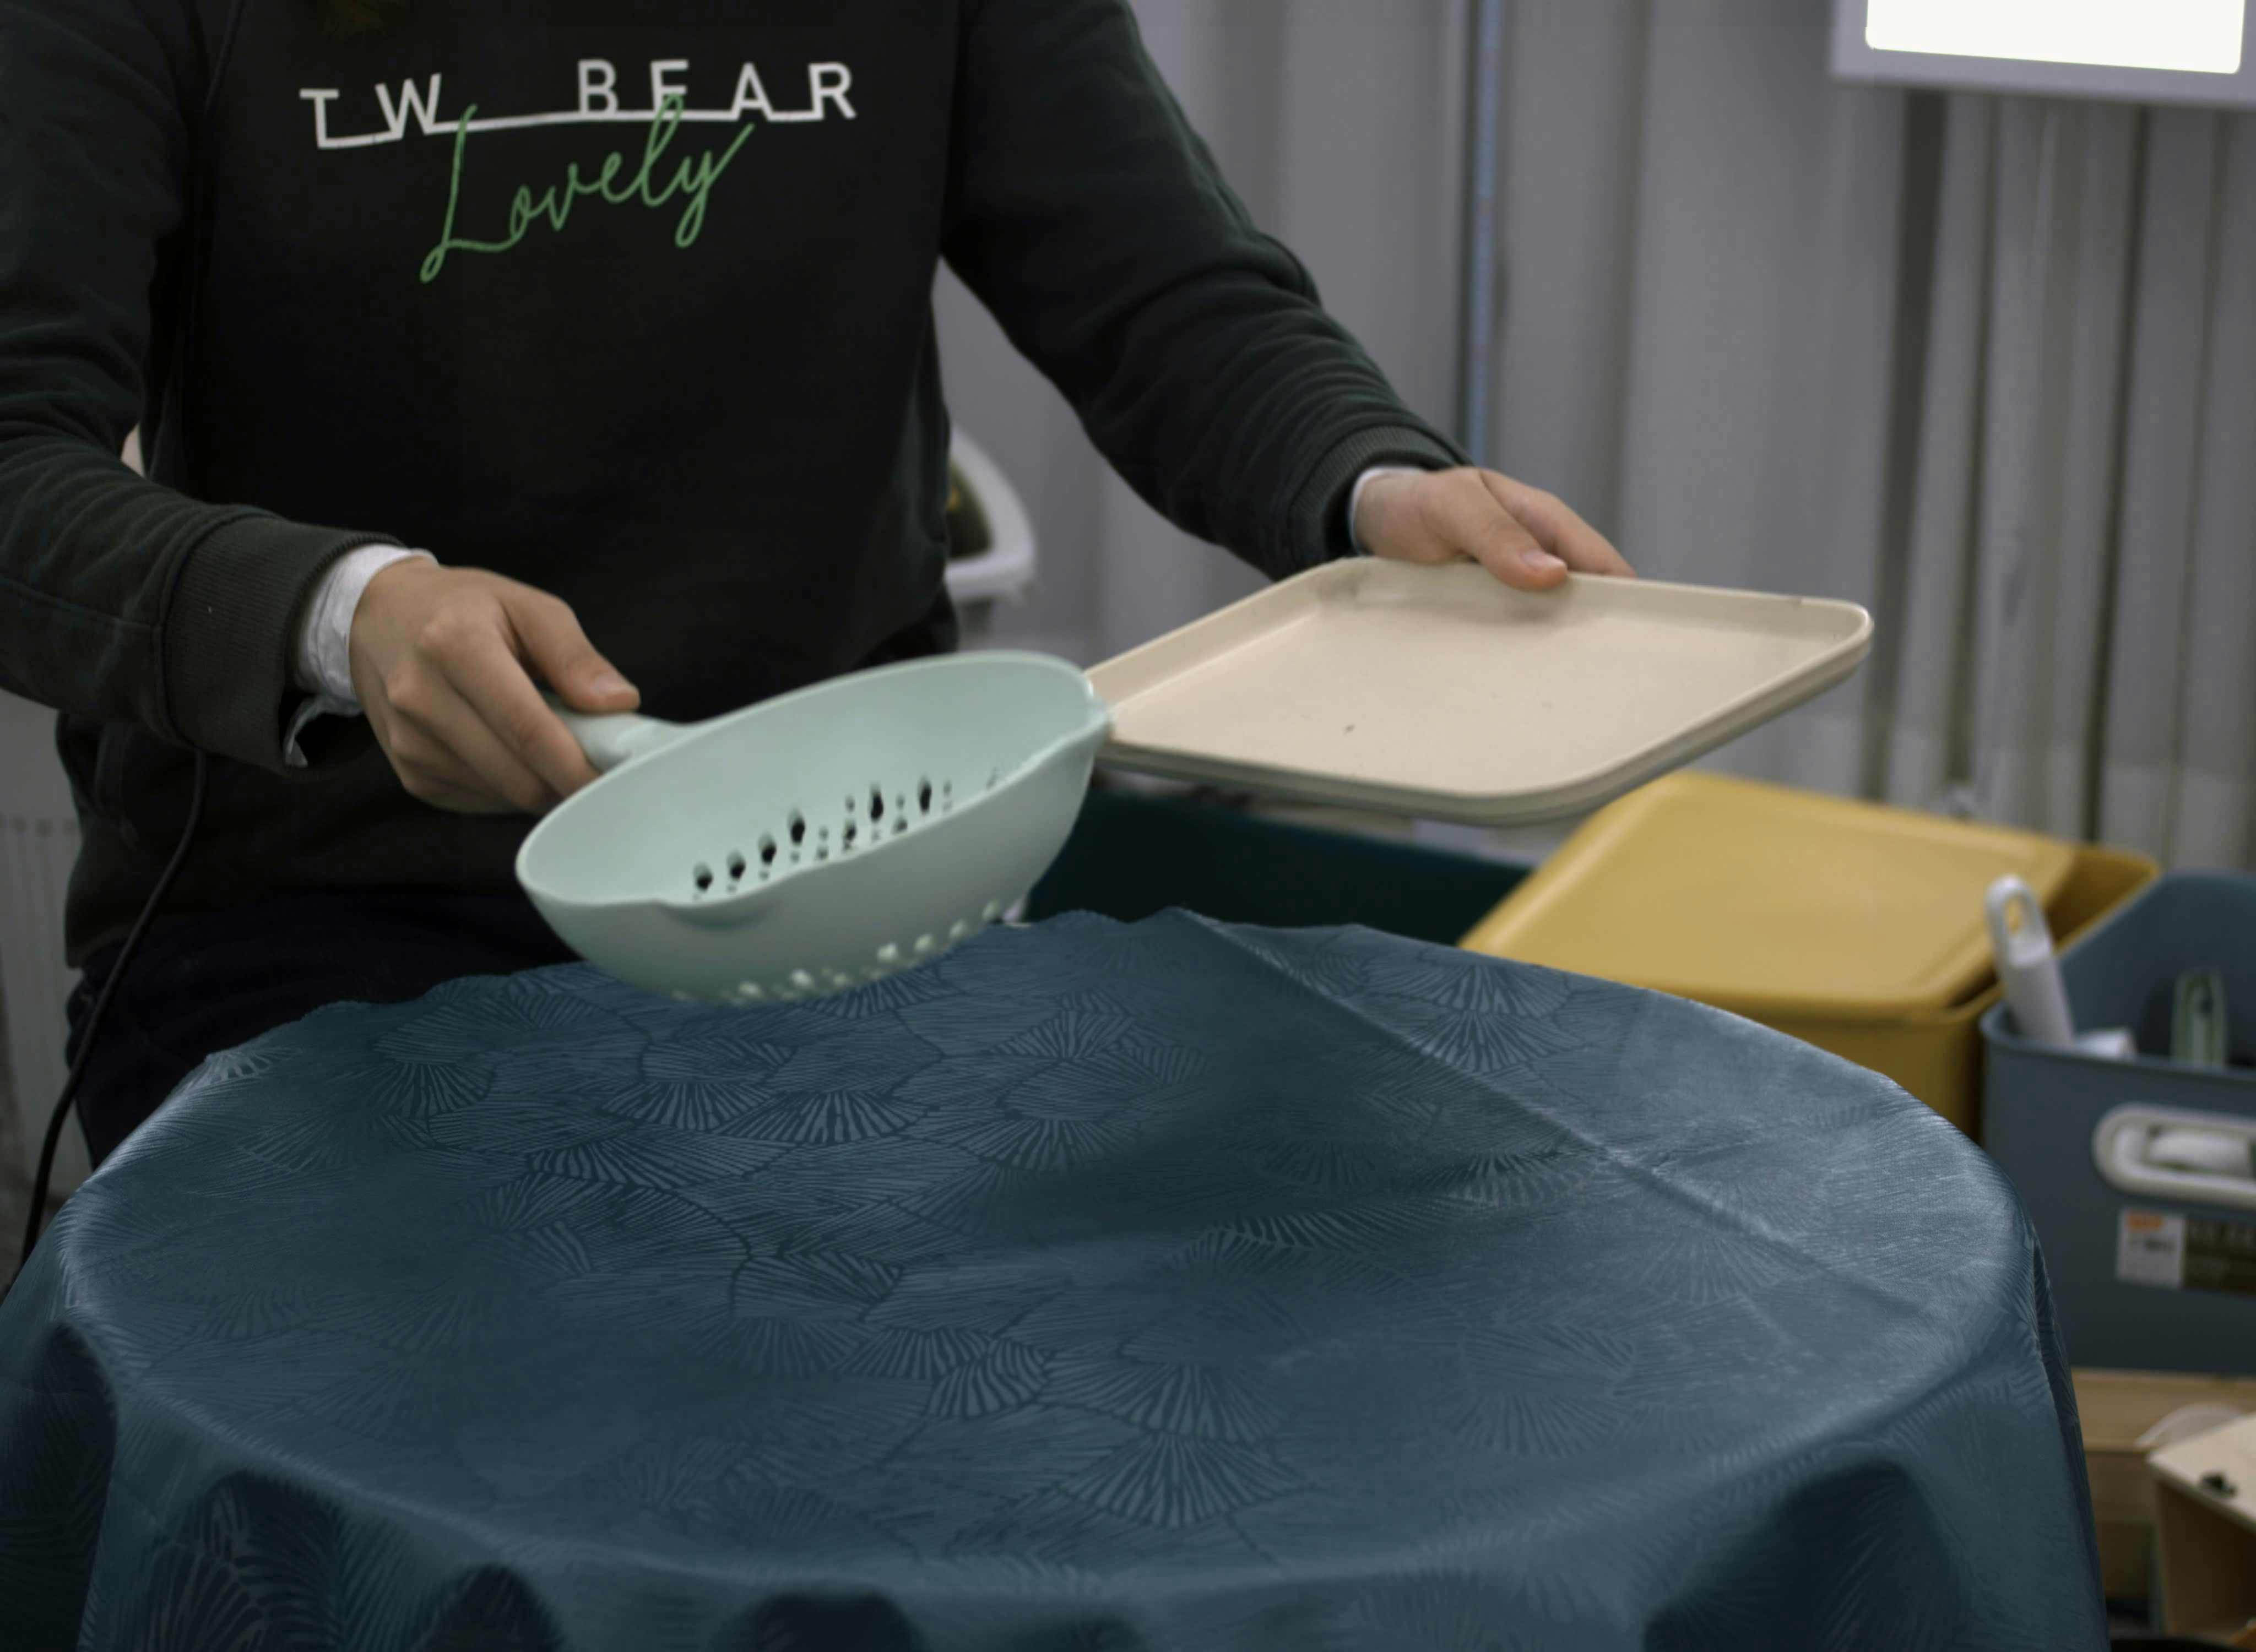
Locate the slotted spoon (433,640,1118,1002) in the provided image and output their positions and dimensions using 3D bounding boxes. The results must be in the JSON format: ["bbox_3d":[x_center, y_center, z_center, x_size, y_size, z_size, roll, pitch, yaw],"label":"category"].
[{"bbox_3d":[-0.134,-0.017,1.550,0.169,0.076,0.354,-26,27,-25],"label":"slotted spoon"}]

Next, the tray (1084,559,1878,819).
[{"bbox_3d":[0.097,-0.043,1.606,0.172,0.017,0.236,-26,23,-38],"label":"tray"}]
